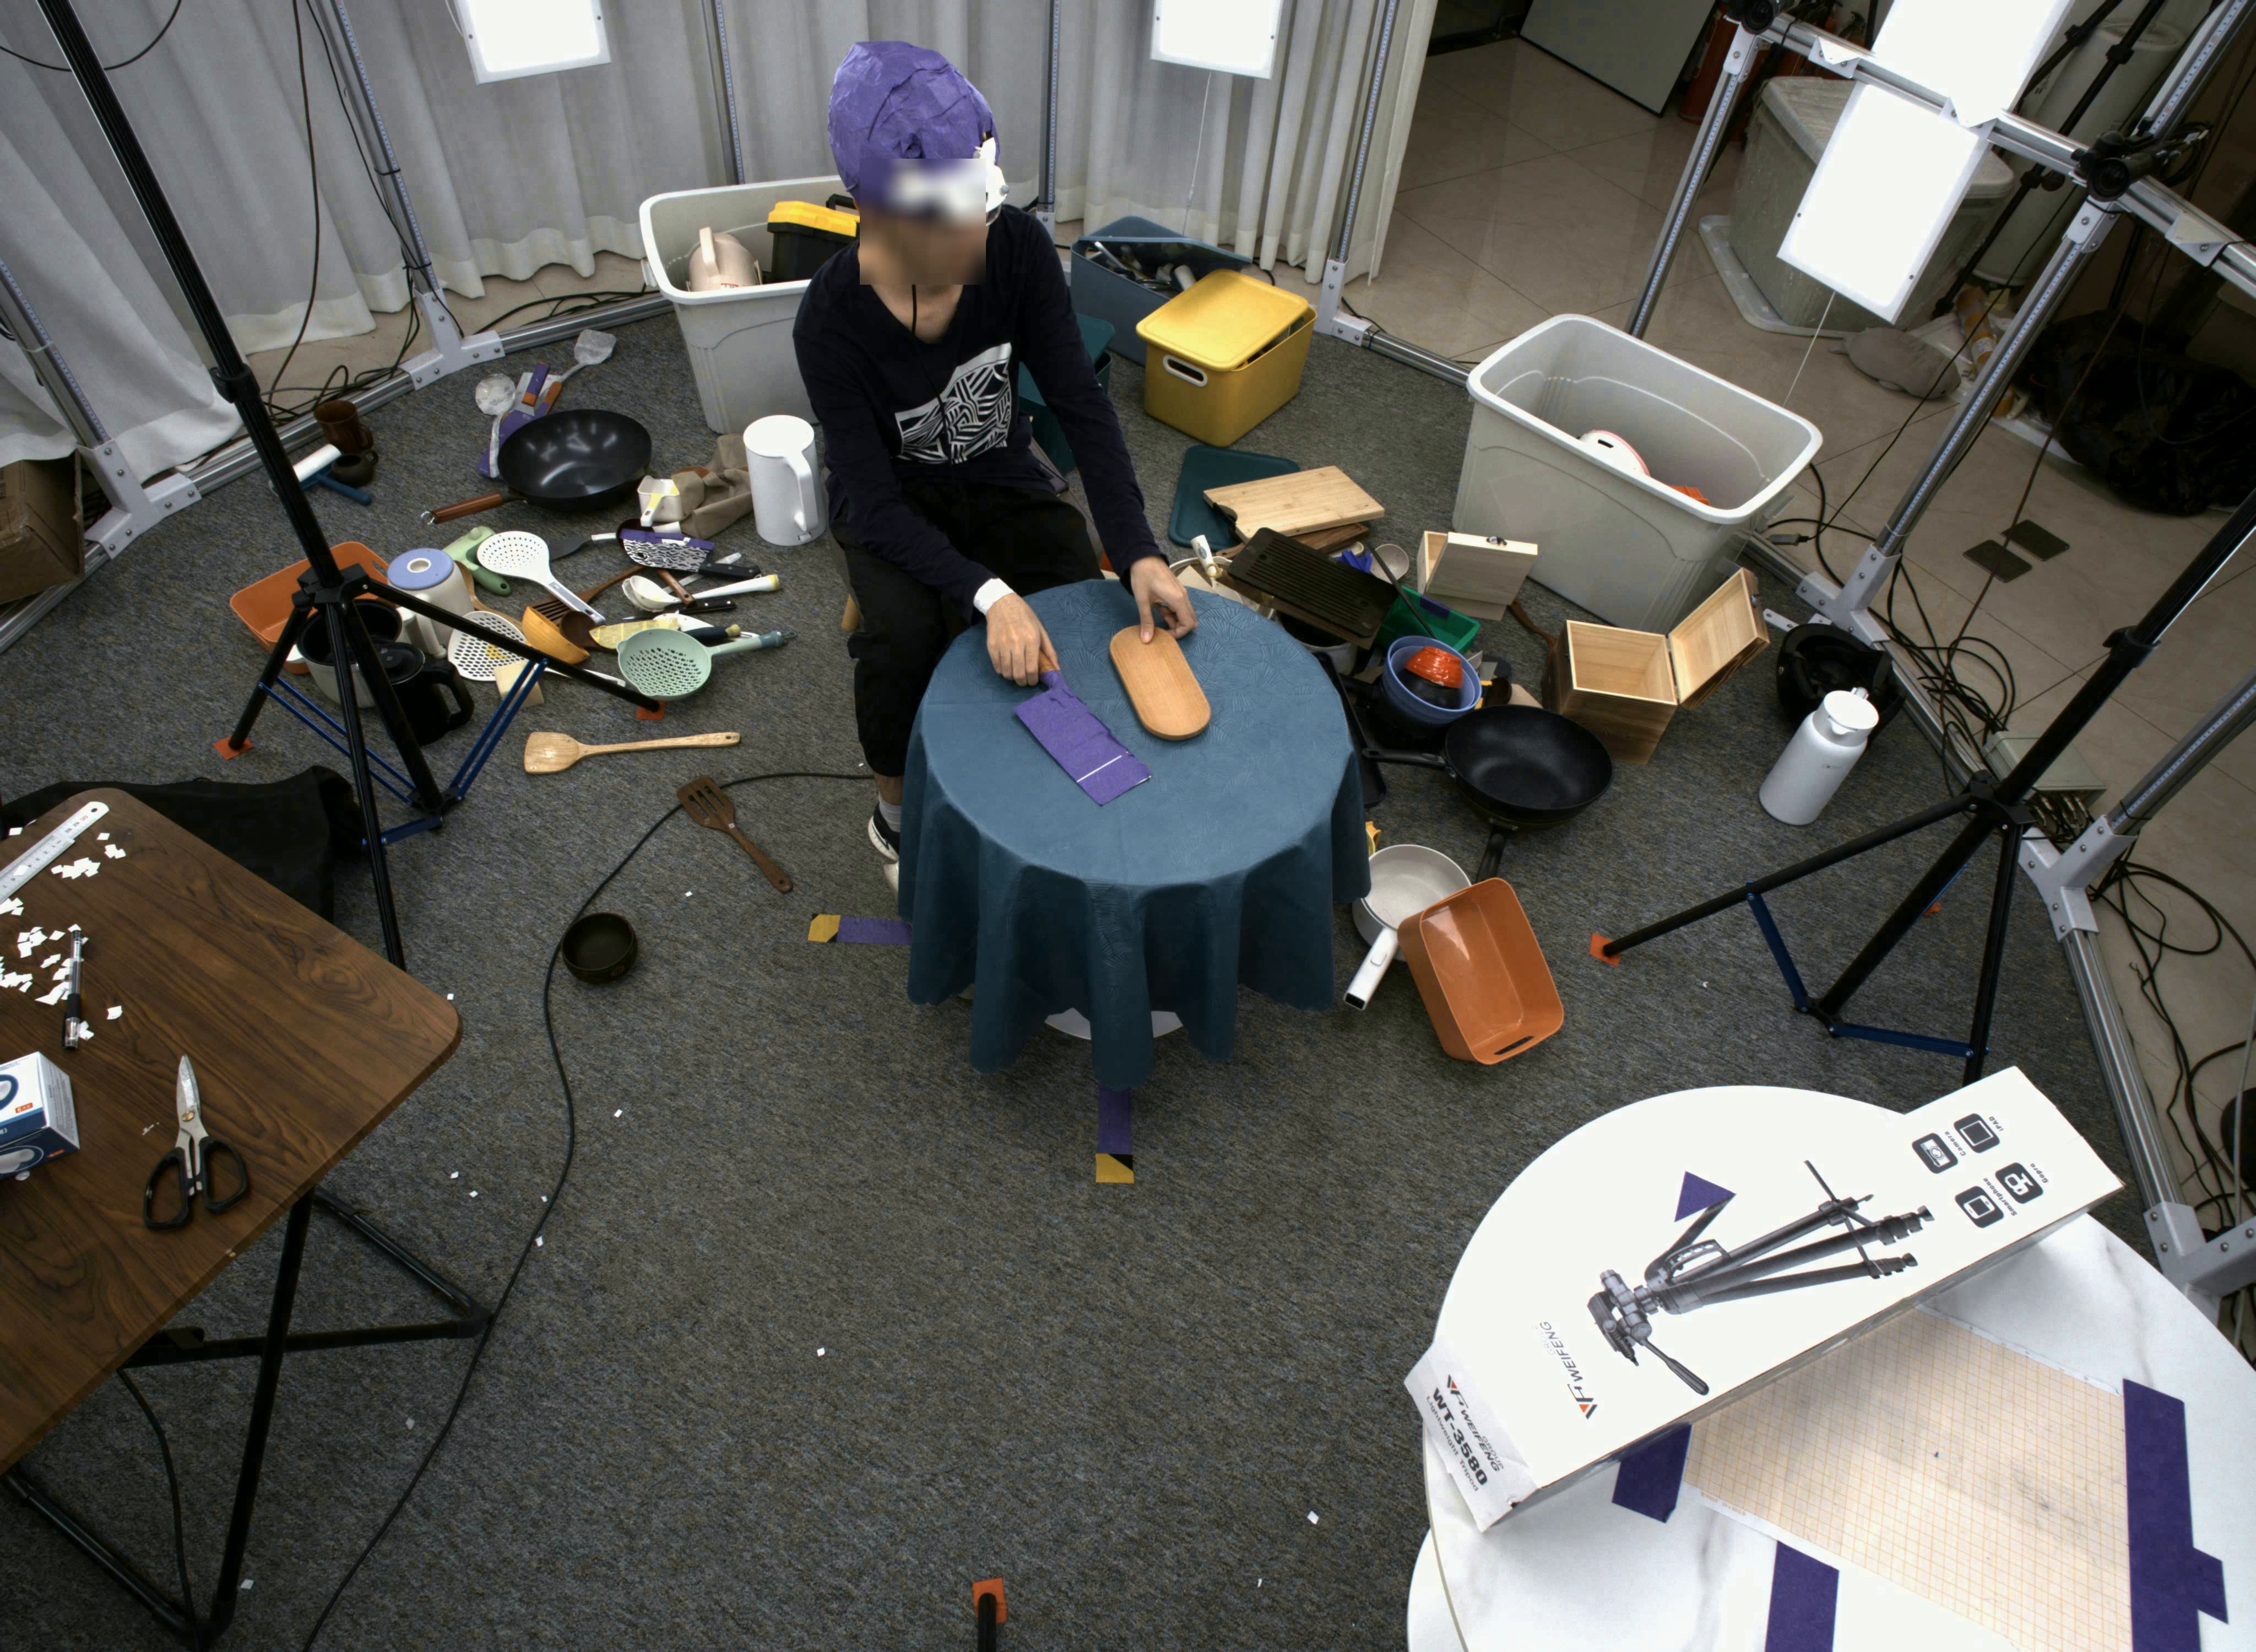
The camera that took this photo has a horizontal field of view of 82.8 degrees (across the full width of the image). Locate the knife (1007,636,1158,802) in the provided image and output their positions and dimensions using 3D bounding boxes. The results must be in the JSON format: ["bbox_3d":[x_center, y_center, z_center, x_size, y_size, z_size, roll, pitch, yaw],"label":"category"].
[{"bbox_3d":[-0.092,-0.153,1.776,0.104,0.031,0.321,-28,57,-25],"label":"knife"}]

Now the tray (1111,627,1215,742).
[{"bbox_3d":[0.048,-0.205,1.838,0.102,0.020,0.236,-15,53,-14],"label":"tray"}]
